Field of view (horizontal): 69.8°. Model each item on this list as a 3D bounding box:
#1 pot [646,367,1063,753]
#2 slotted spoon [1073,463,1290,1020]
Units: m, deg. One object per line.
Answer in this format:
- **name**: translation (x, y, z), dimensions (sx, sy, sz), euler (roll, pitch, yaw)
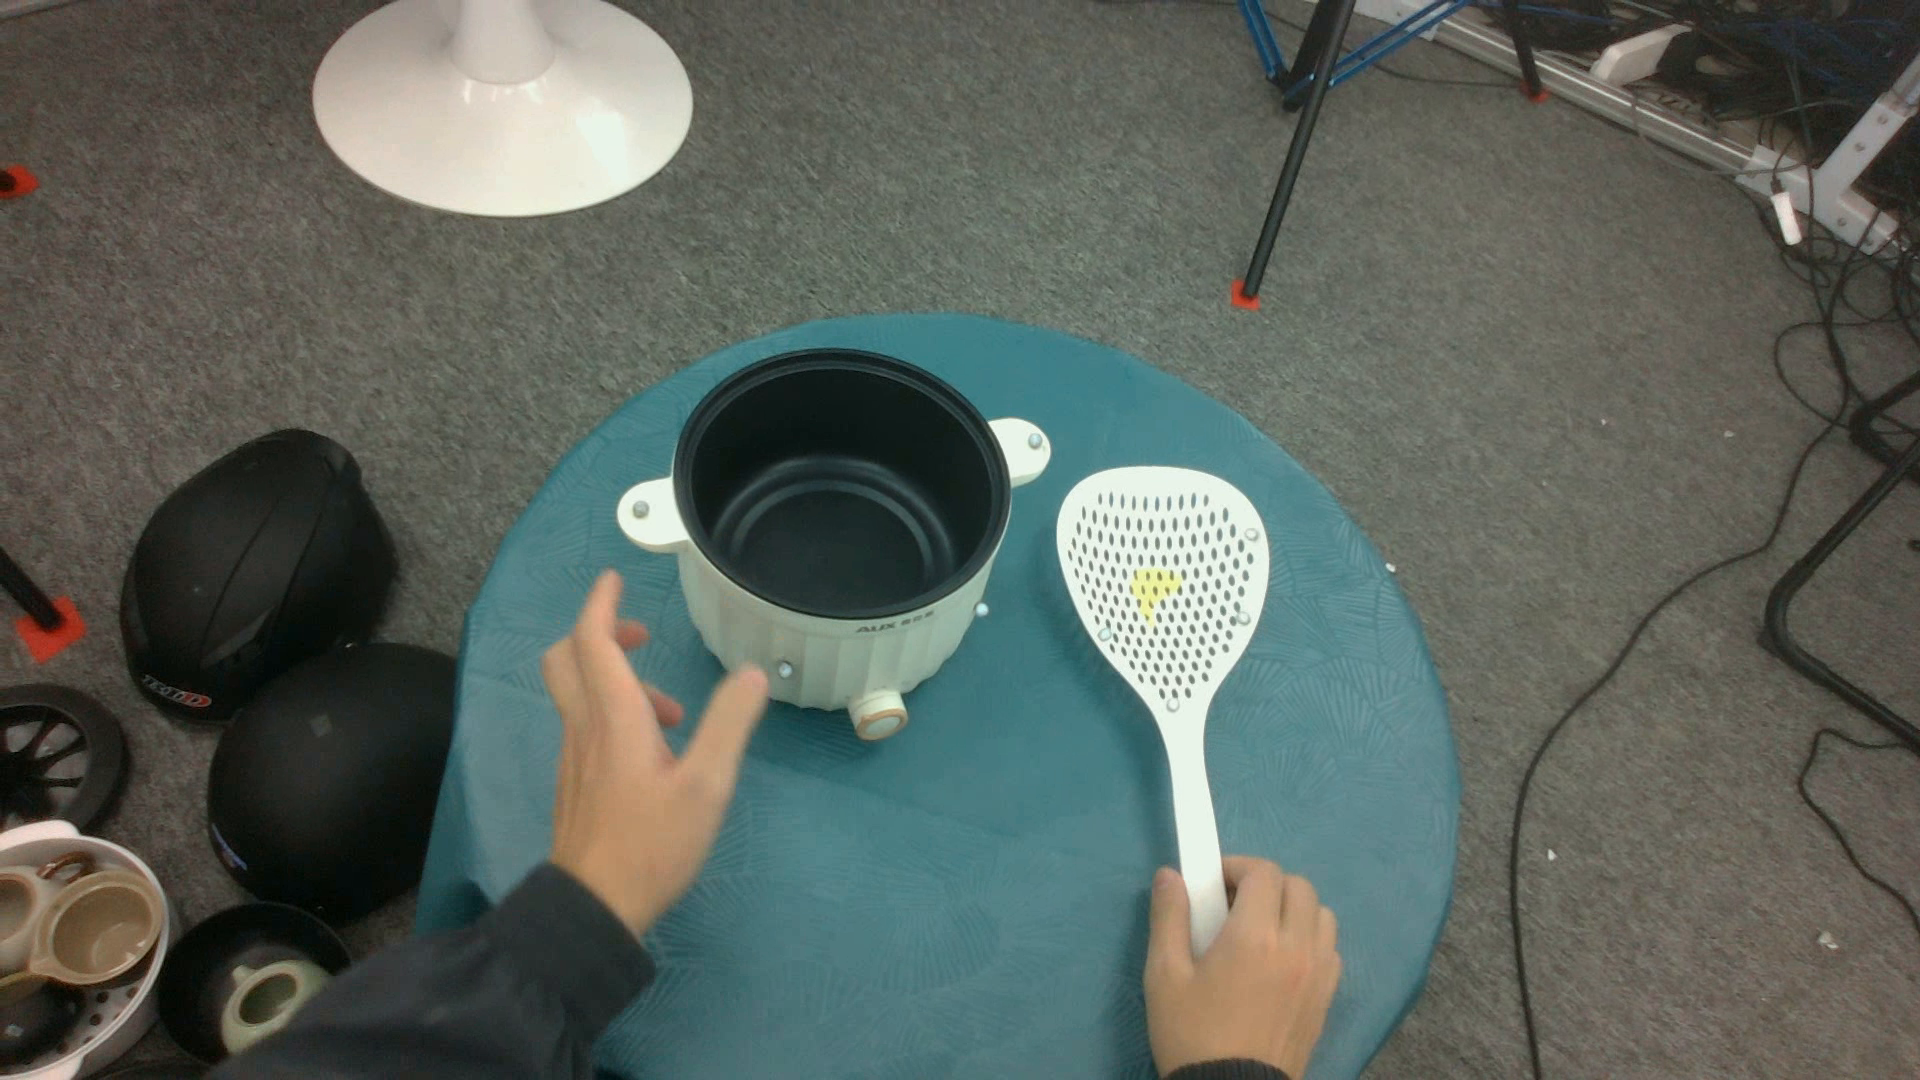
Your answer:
- **pot**: translation (-0.055, 0.016, 0.799), dimensions (0.241, 0.142, 0.191), euler (-16, 55, -17)
- **slotted spoon**: translation (0.148, 0.103, 0.821), dimensions (0.137, 0.050, 0.349), euler (-3, 54, -2)
